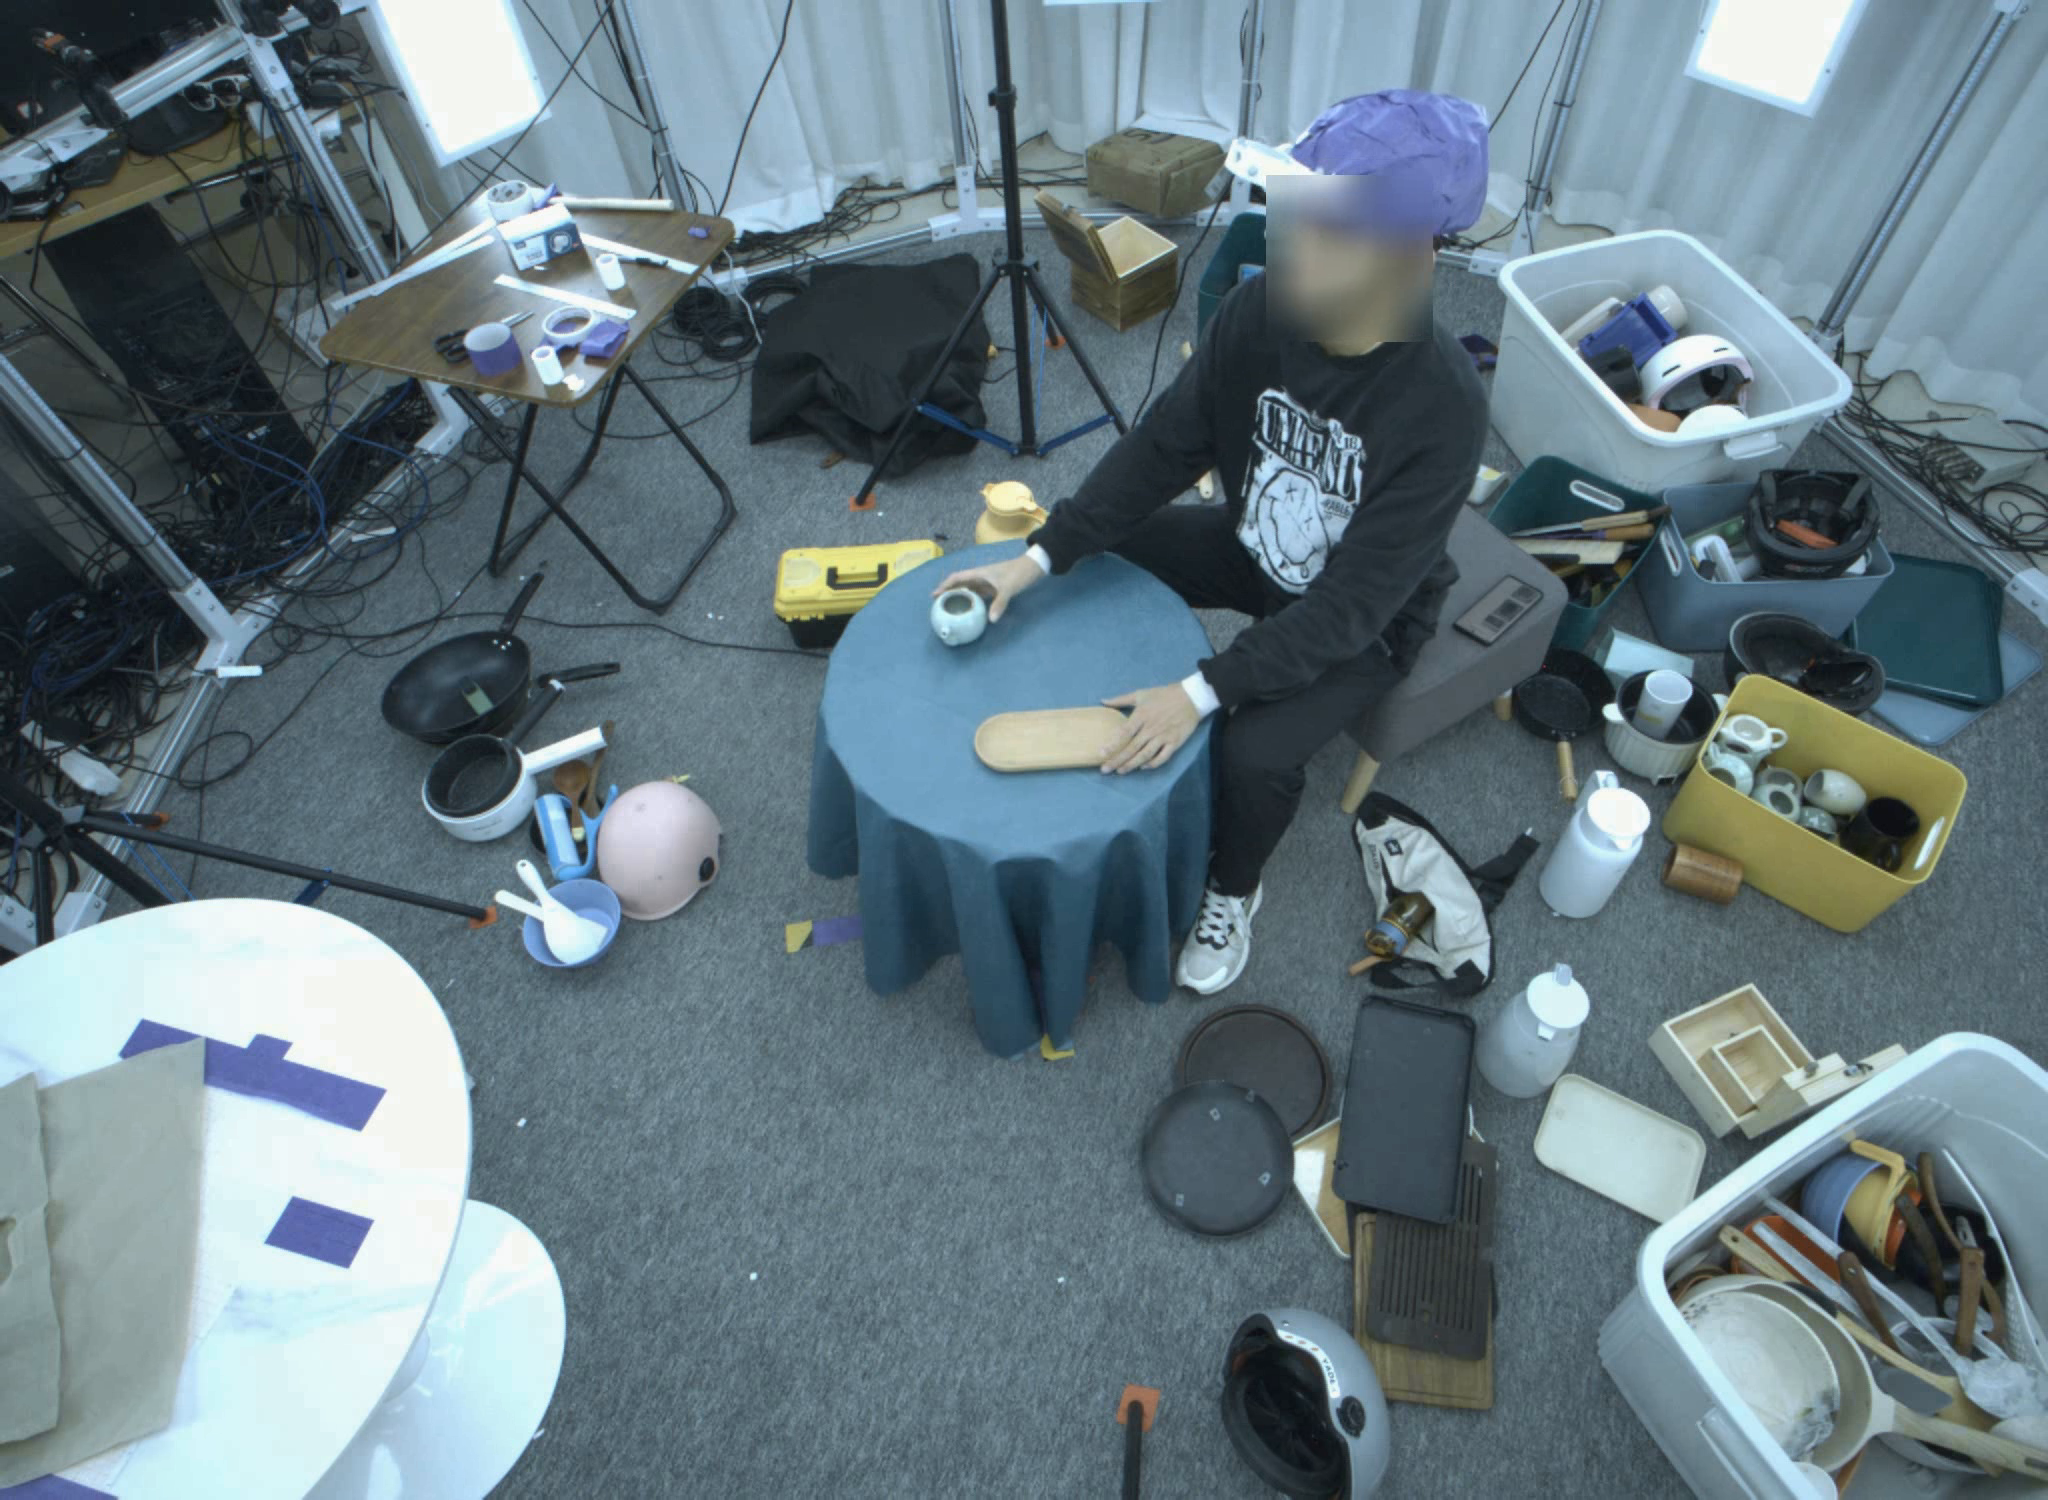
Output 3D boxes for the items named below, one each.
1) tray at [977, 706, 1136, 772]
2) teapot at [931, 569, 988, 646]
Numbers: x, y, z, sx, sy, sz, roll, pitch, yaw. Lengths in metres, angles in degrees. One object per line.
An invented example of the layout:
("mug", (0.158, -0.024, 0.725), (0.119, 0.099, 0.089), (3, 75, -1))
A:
("tray", (0.047, -0.016, 1.783), (0.232, 0.020, 0.100), (-3, 56, -2))
("teapot", (-0.100, -0.206, 1.889), (0.087, 0.075, 0.143), (13, 57, 11))
